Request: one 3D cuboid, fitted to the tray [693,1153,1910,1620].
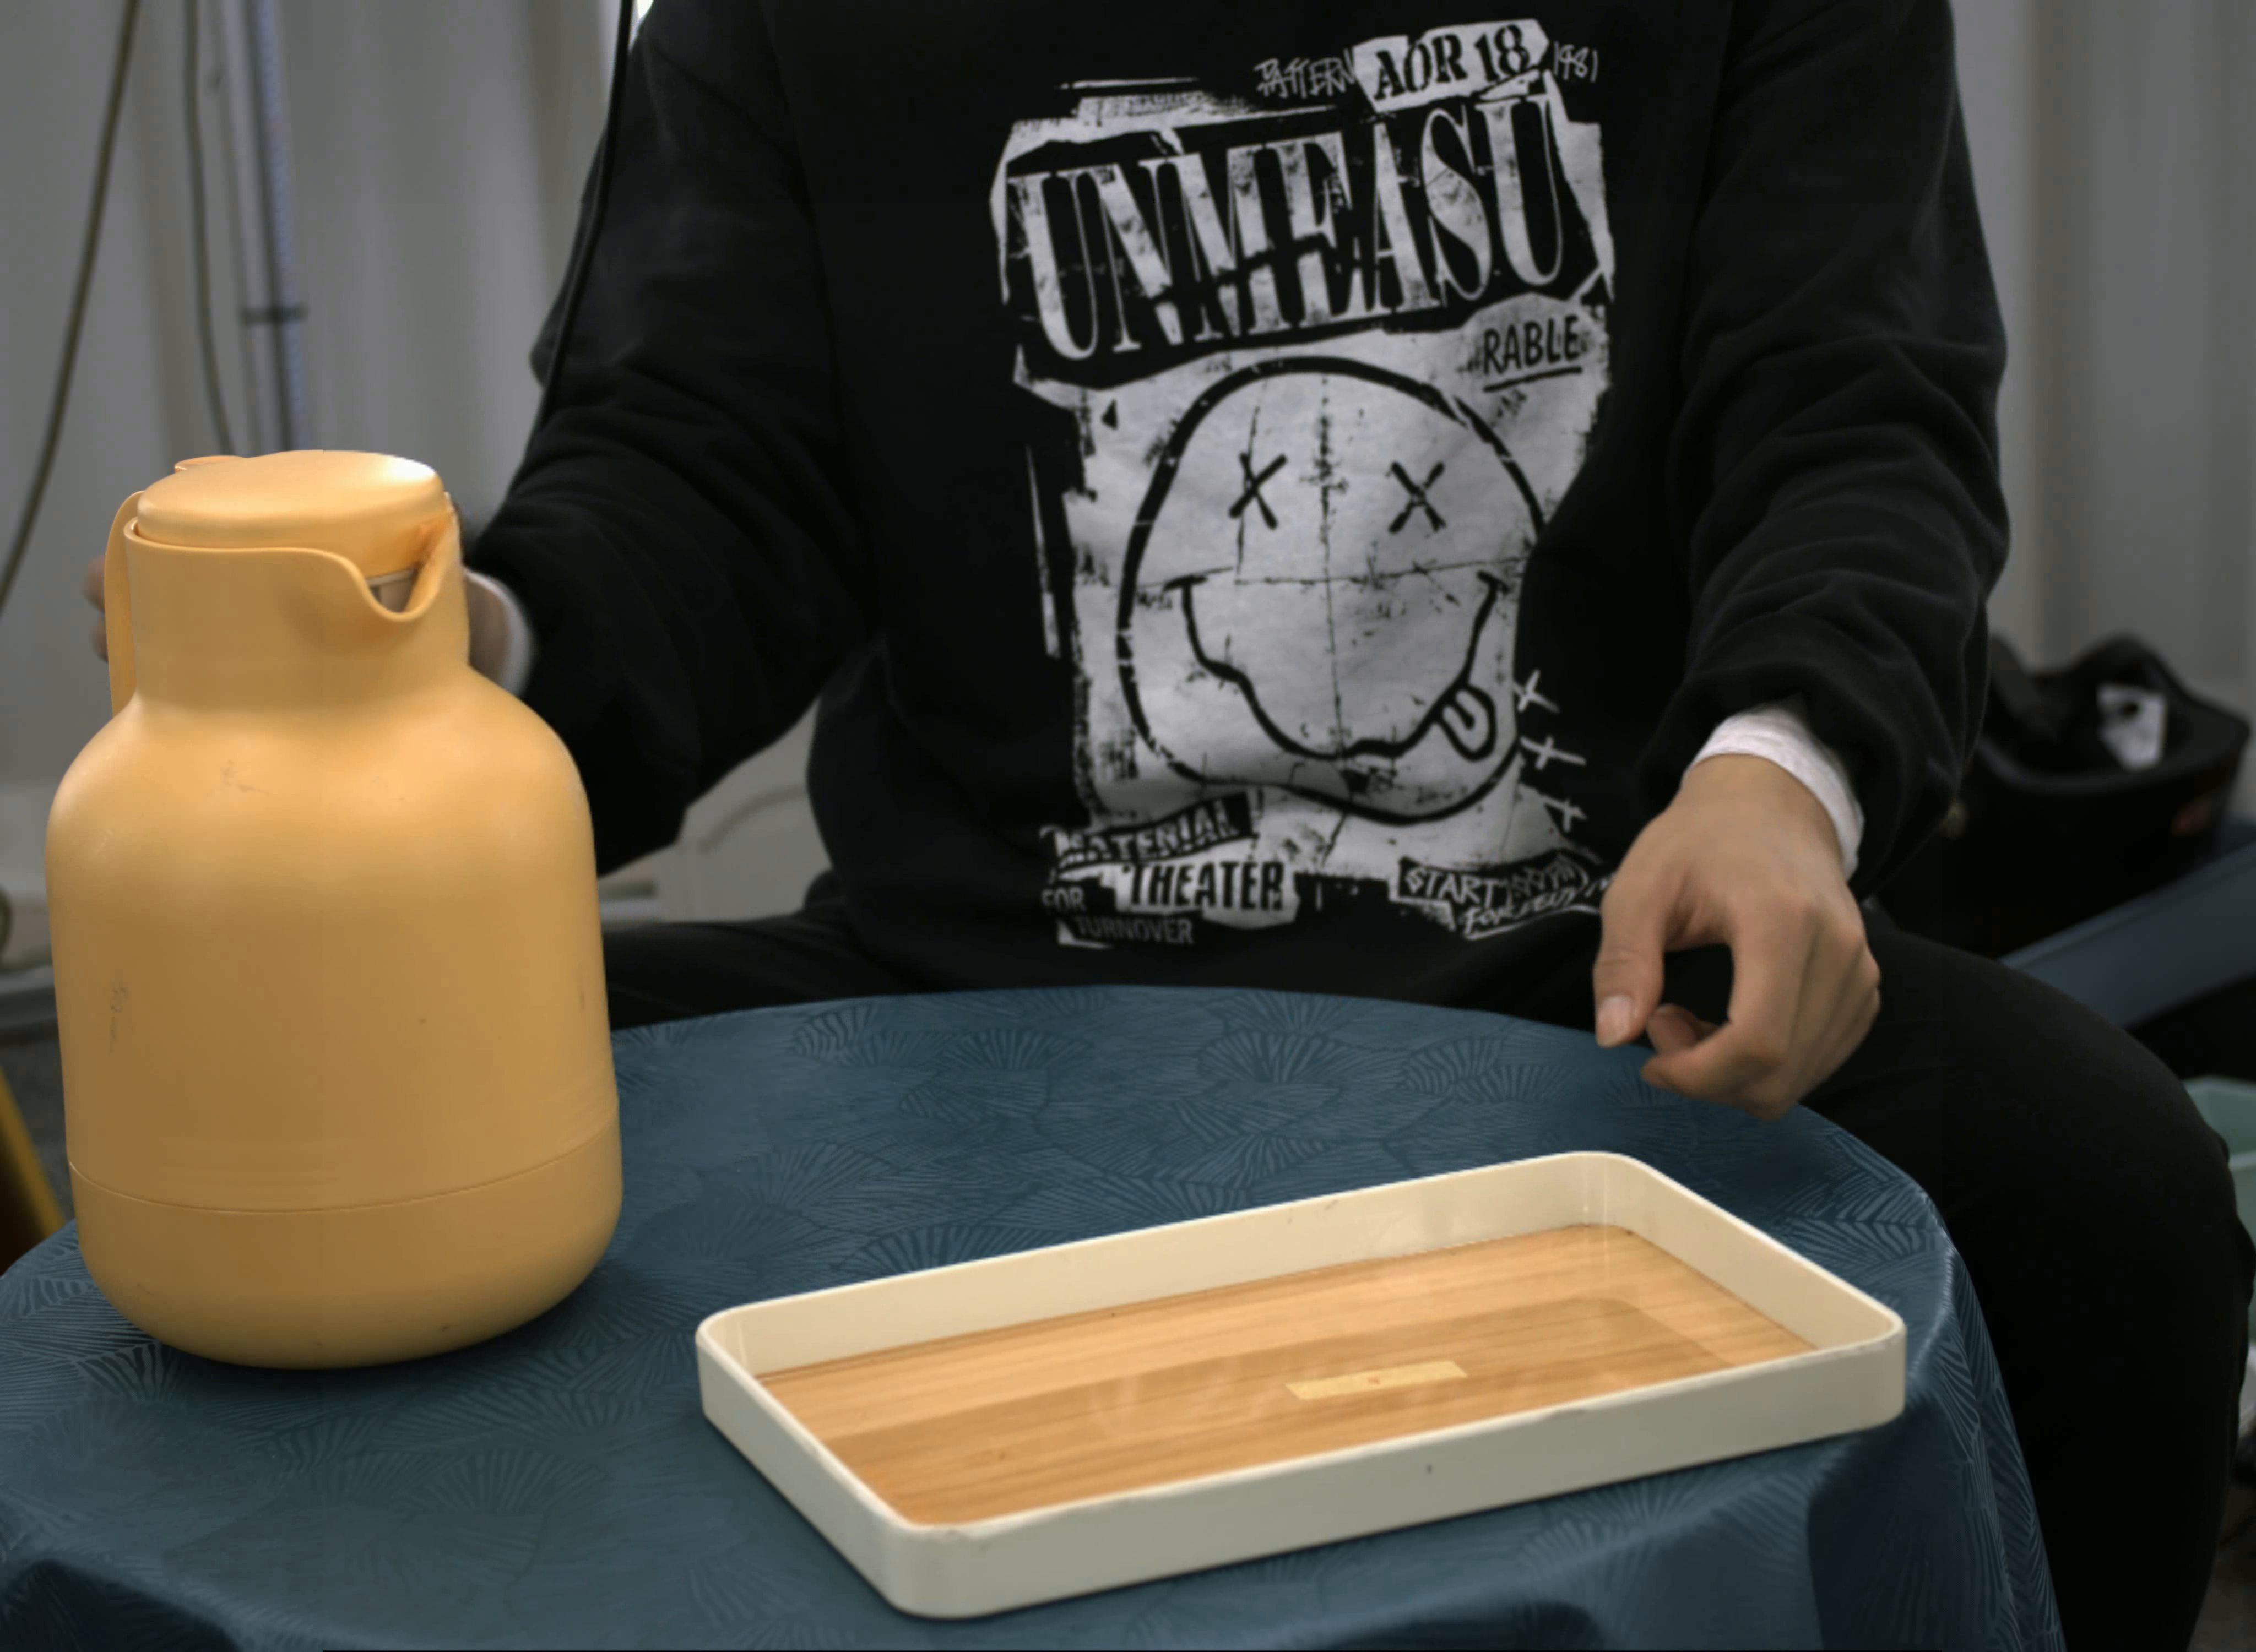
[{"bbox_3d":[0.046,0.151,1.517,0.299,0.027,0.193,-8,16,-21],"label":"tray"}]

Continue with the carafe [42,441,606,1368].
[{"bbox_3d":[-0.247,0.015,1.632,0.162,0.259,0.204,-8,16,-29],"label":"carafe"}]
